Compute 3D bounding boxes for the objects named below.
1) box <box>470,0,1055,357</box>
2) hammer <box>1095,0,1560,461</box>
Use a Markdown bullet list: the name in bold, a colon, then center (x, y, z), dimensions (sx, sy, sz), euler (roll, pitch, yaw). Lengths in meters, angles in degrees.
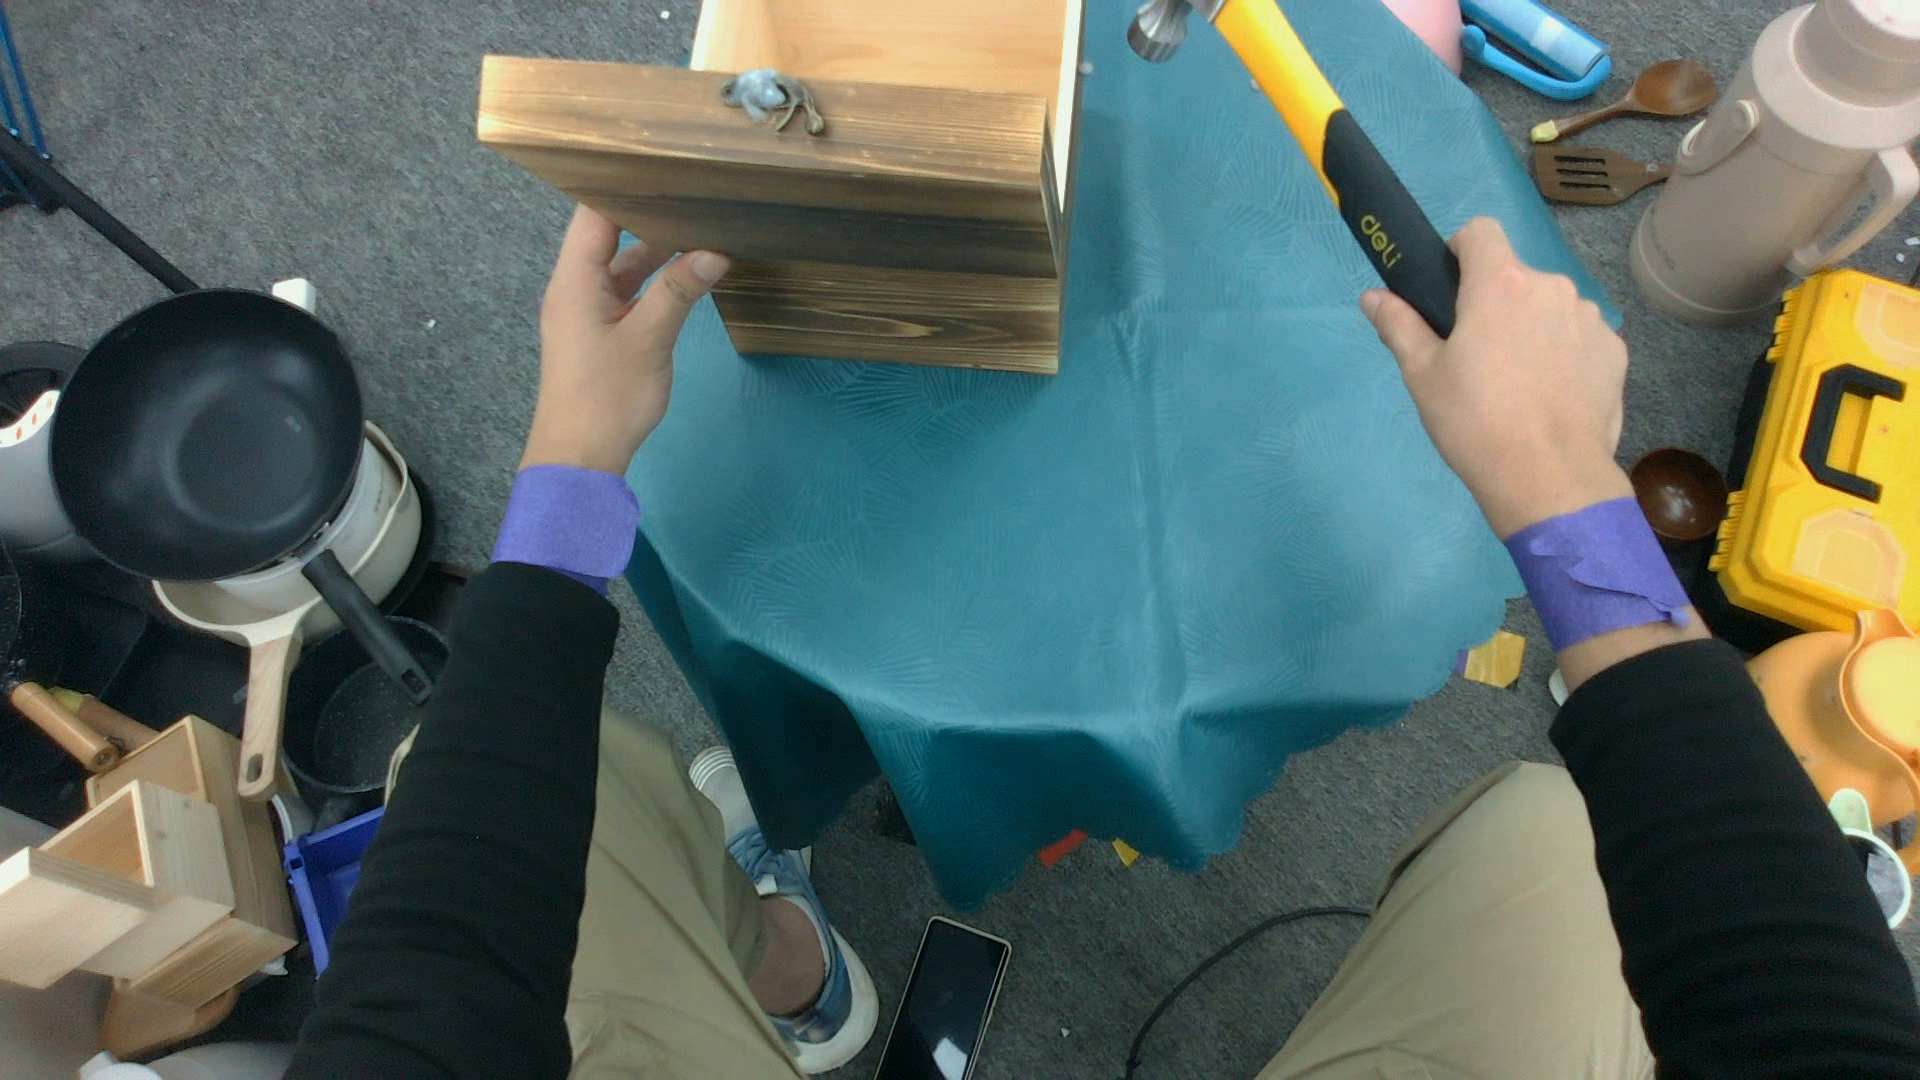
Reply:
- **box**: center (-0.057, -0.230, 0.690), dimensions (0.208, 0.374, 0.323), euler (5, 69, 4)
- **hammer**: center (0.179, -0.185, 0.668), dimensions (0.032, 0.131, 0.339), euler (-23, 75, -26)
